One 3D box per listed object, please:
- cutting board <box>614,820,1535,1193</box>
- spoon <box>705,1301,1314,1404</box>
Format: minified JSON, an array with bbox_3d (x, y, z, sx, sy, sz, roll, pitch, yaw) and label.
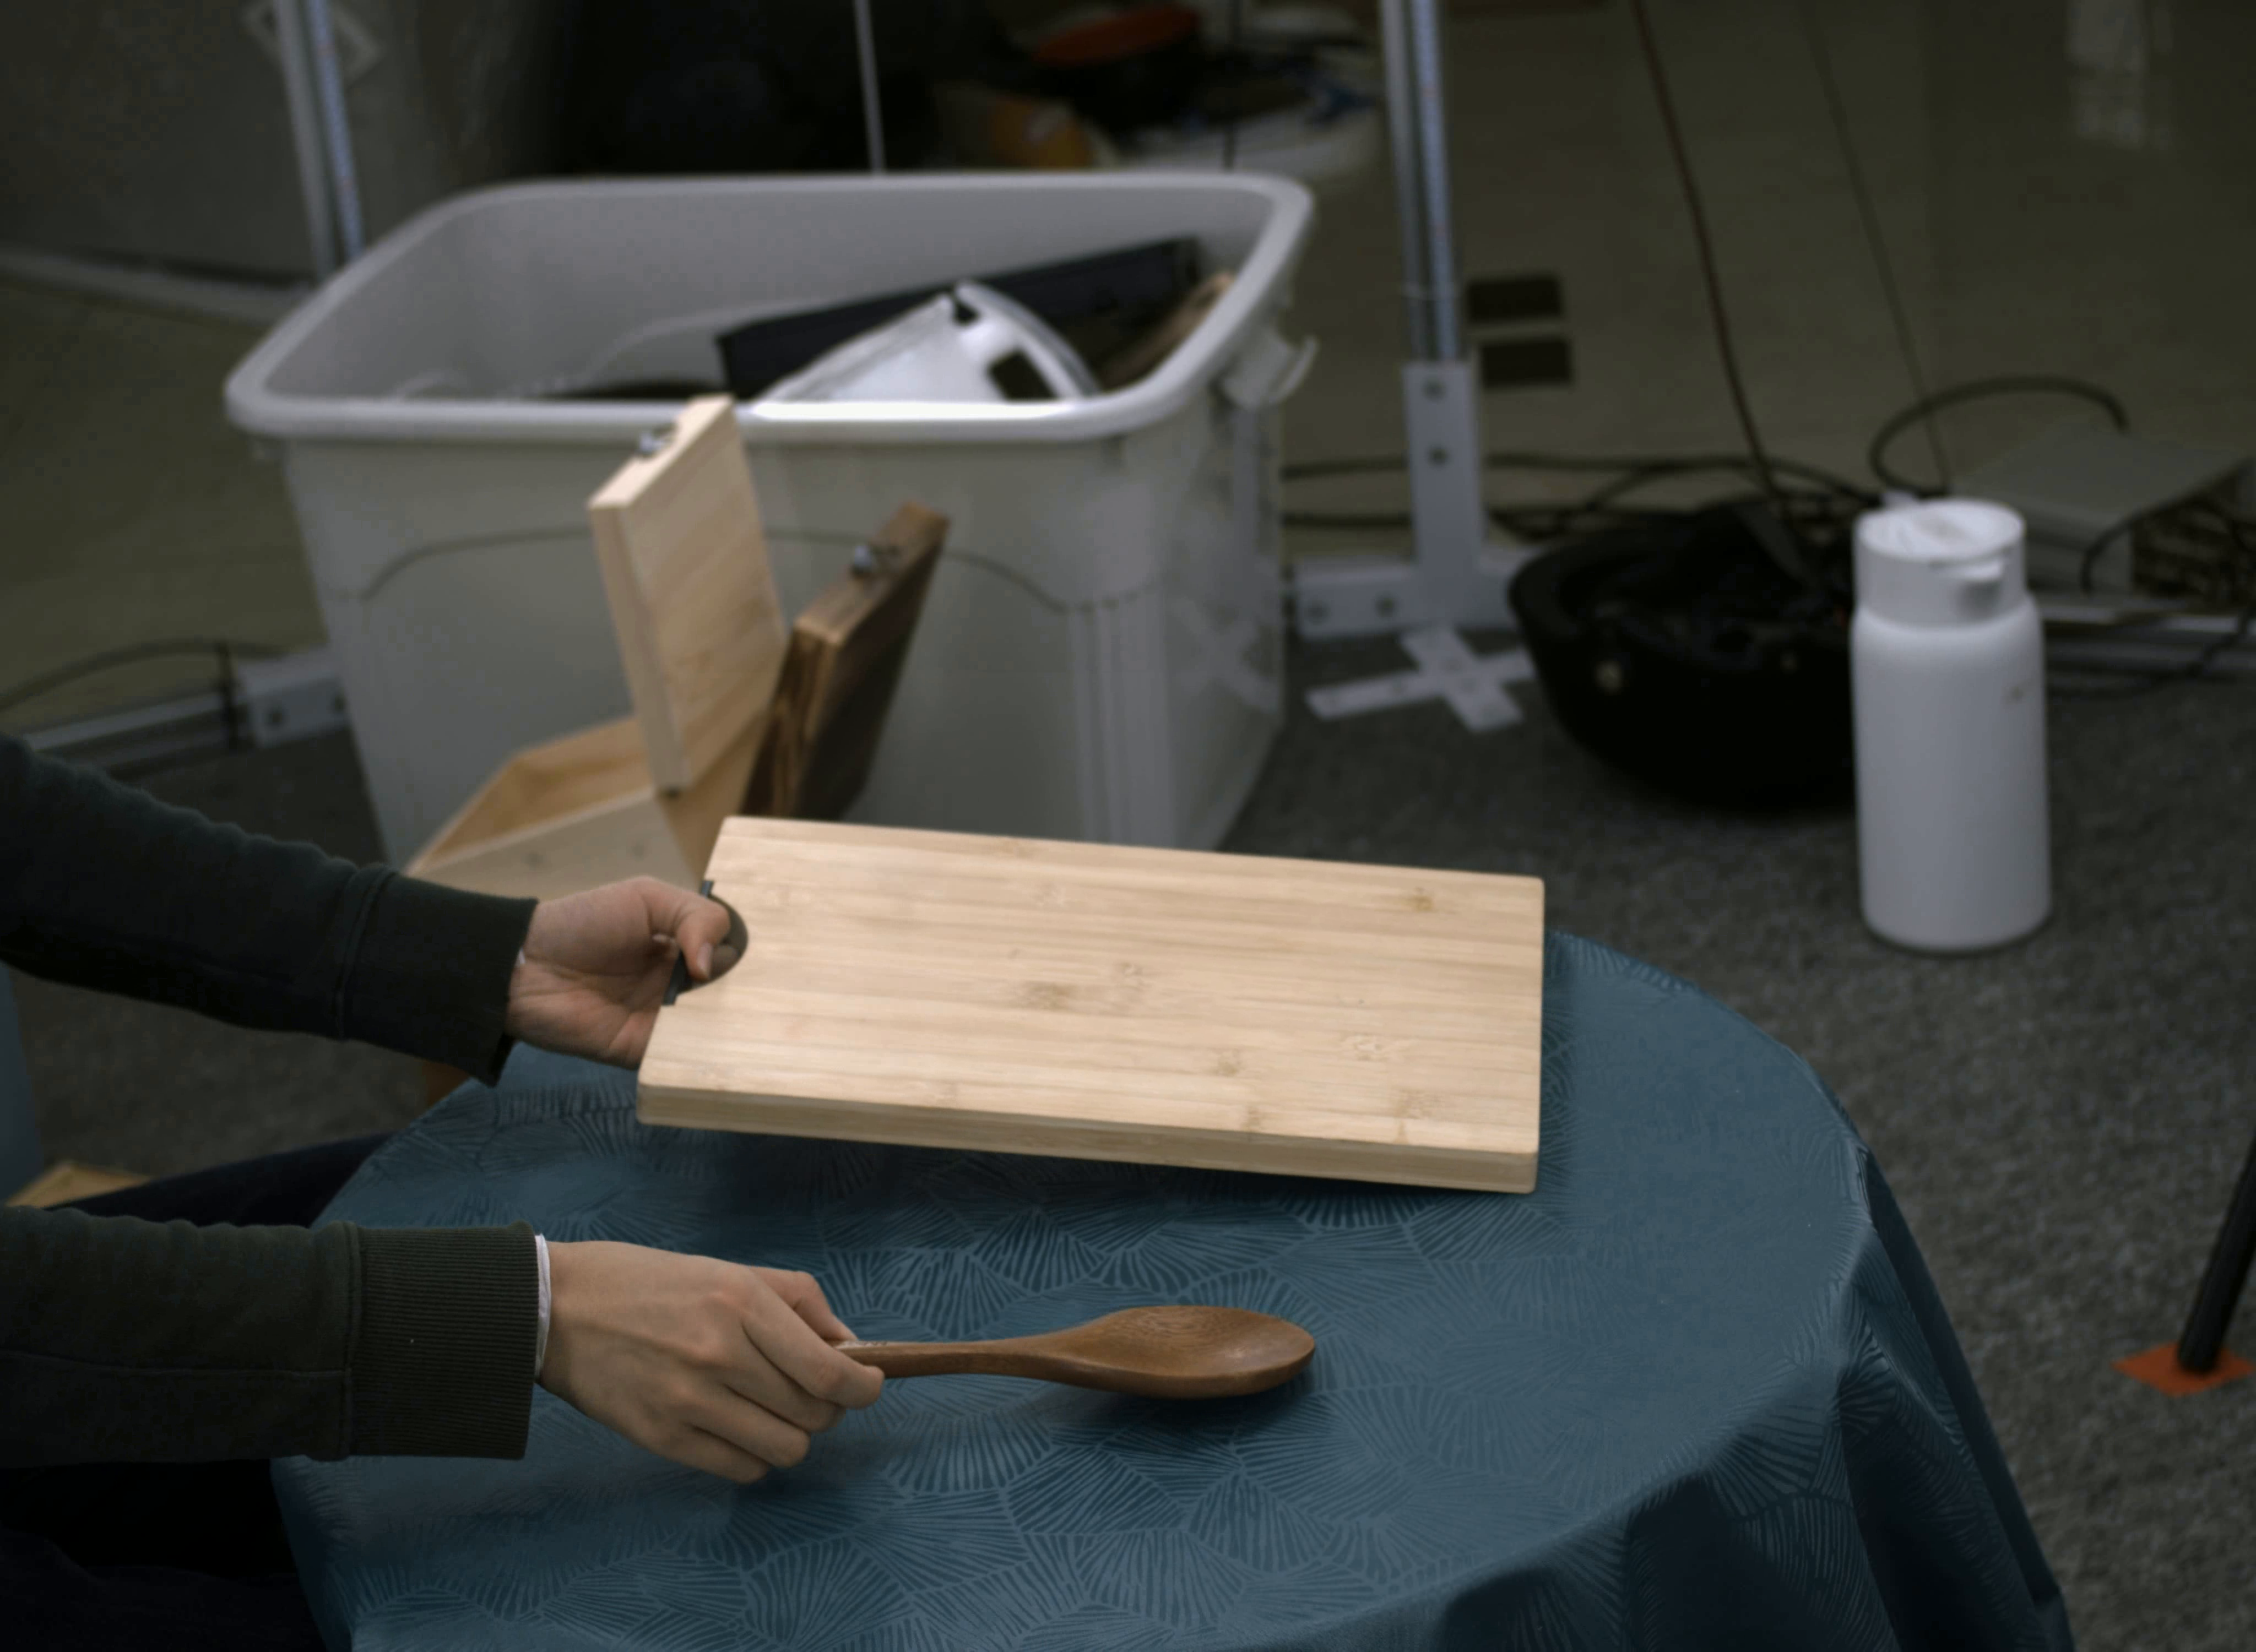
[{"bbox_3d":[-0.013,0.068,2.229,0.348,0.024,0.247,4,25,2],"label":"cutting board"},{"bbox_3d":[-0.041,0.188,2.003,0.215,0.017,0.074,0,18,-8],"label":"spoon"}]
